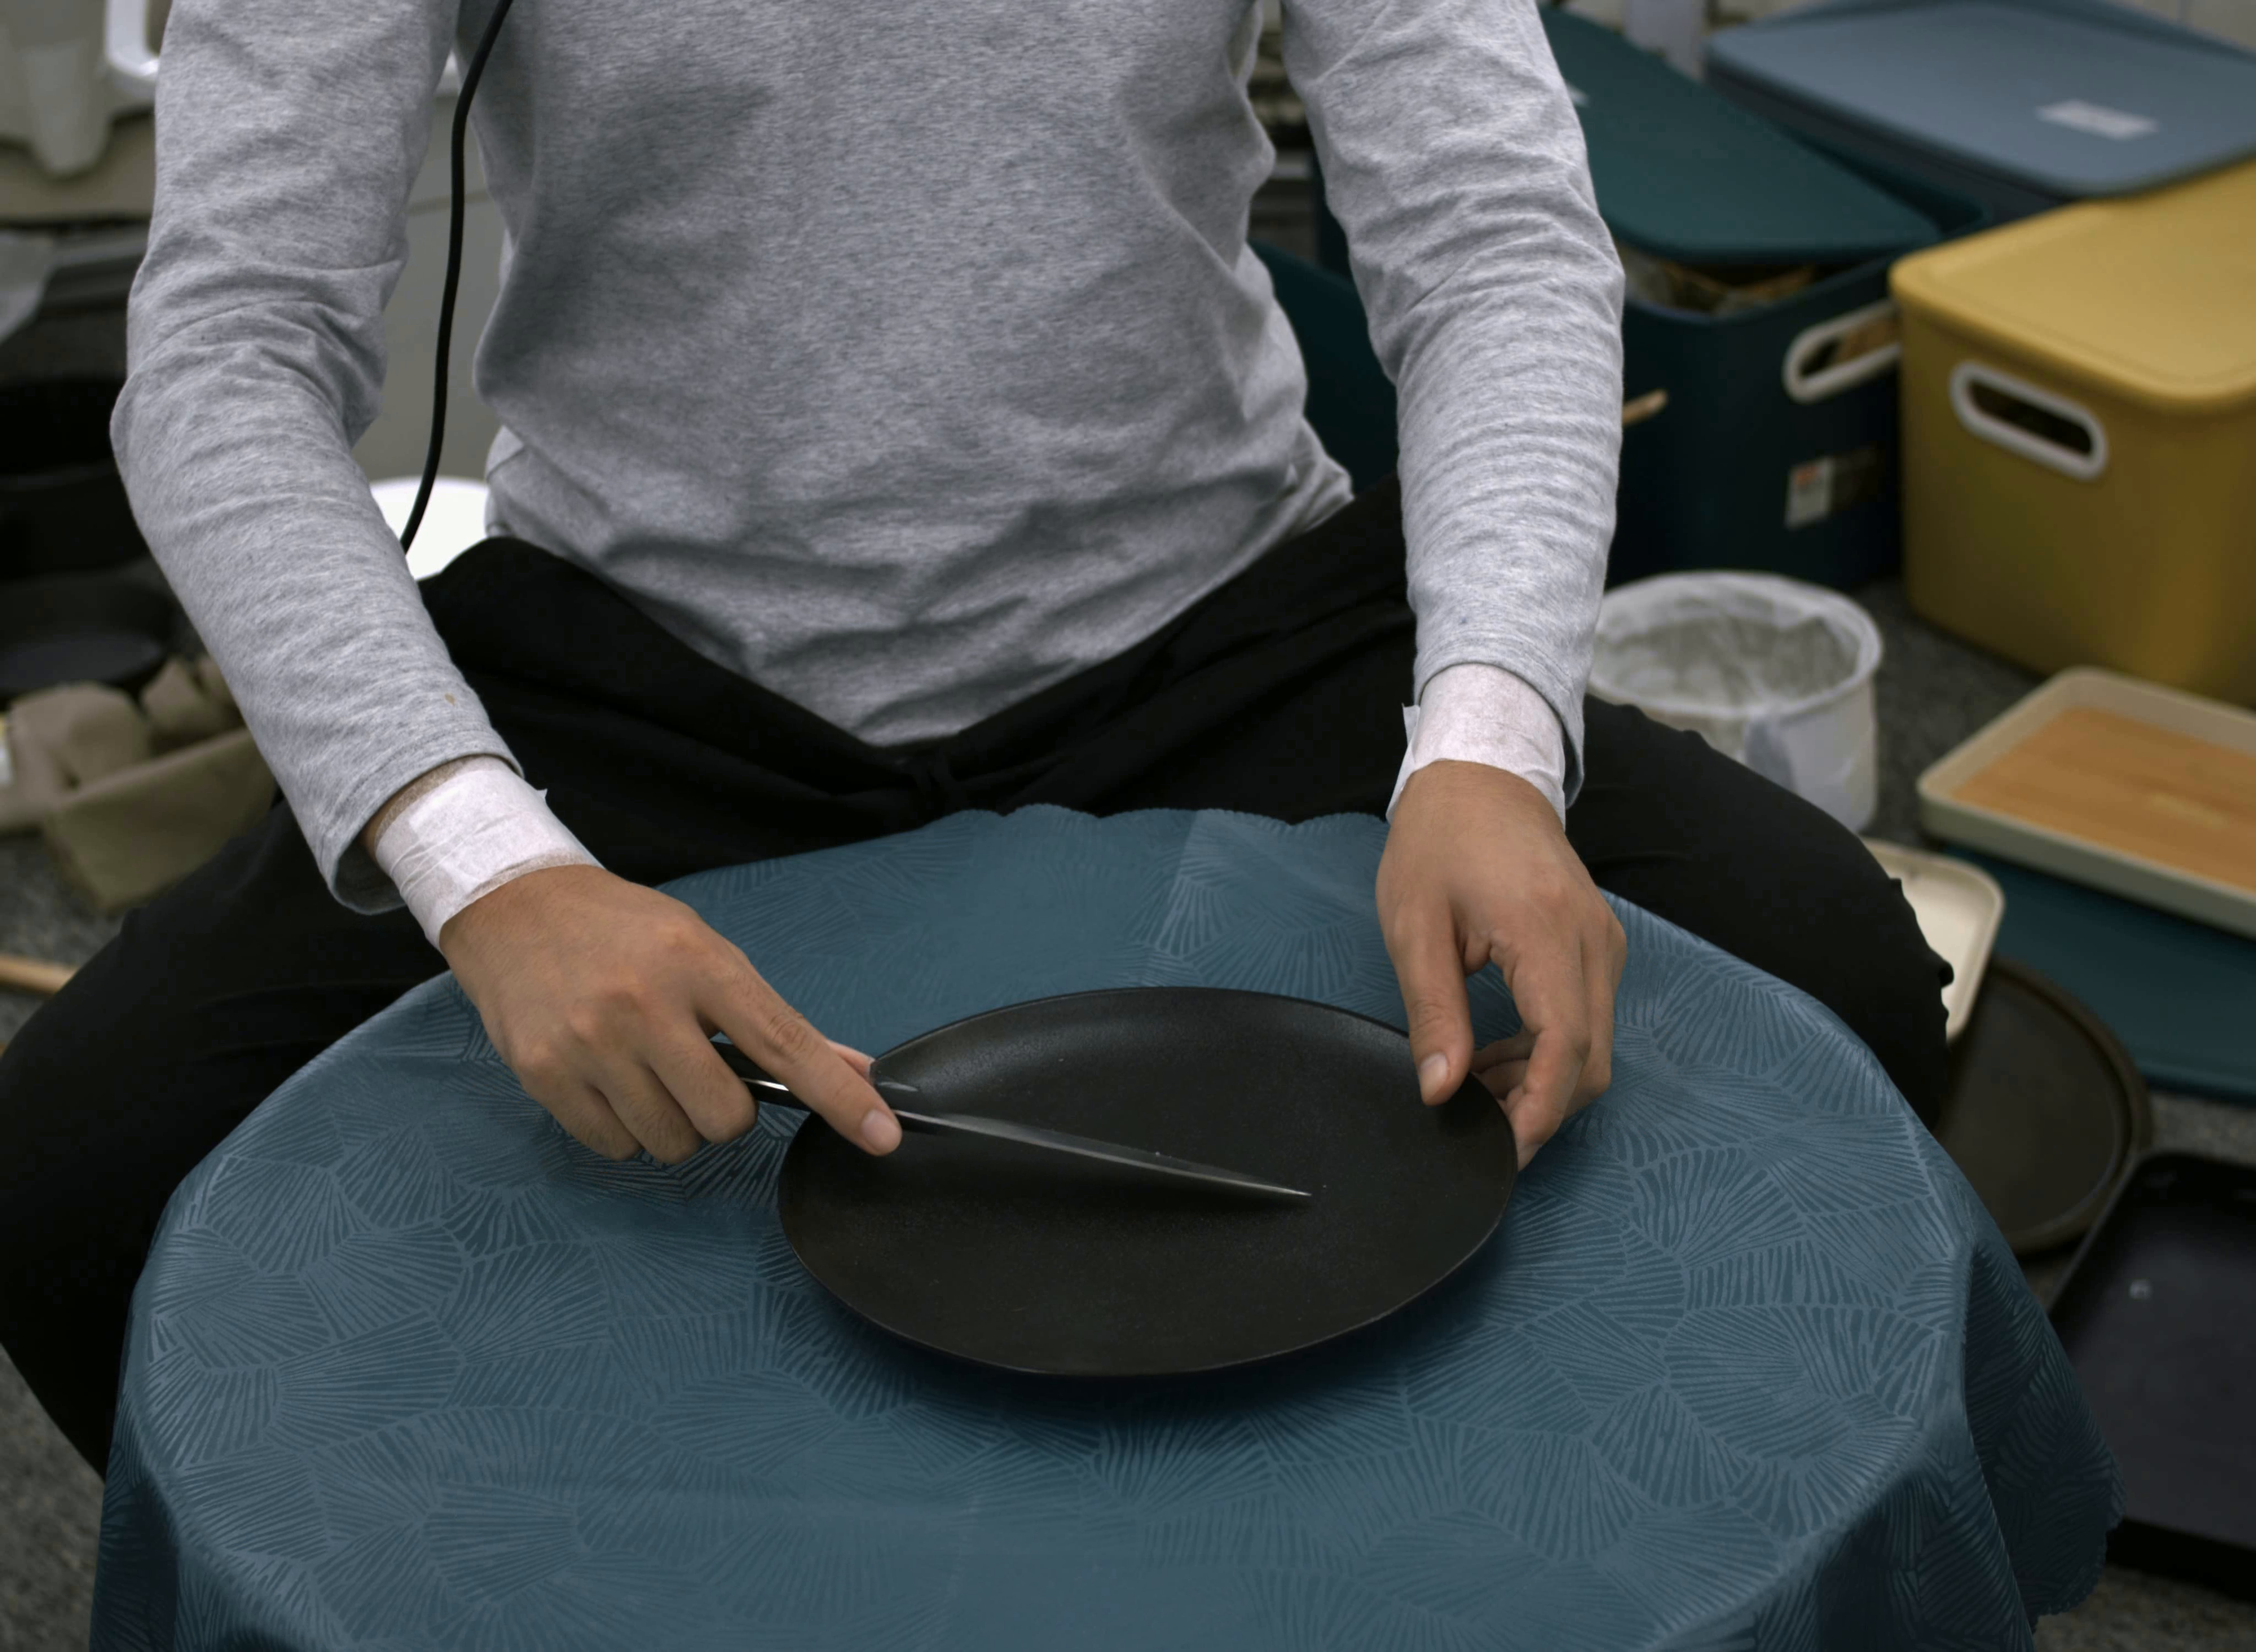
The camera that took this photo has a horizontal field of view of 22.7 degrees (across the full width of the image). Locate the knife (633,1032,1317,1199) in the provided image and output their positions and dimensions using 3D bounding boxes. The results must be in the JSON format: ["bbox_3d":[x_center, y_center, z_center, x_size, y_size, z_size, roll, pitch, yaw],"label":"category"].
[{"bbox_3d":[-0.053,0.099,1.856,0.237,0.016,0.024,11,11,11],"label":"knife"}]

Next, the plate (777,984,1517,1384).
[{"bbox_3d":[0.006,0.121,1.838,0.243,0.023,0.248,-2,28,1],"label":"plate"}]
